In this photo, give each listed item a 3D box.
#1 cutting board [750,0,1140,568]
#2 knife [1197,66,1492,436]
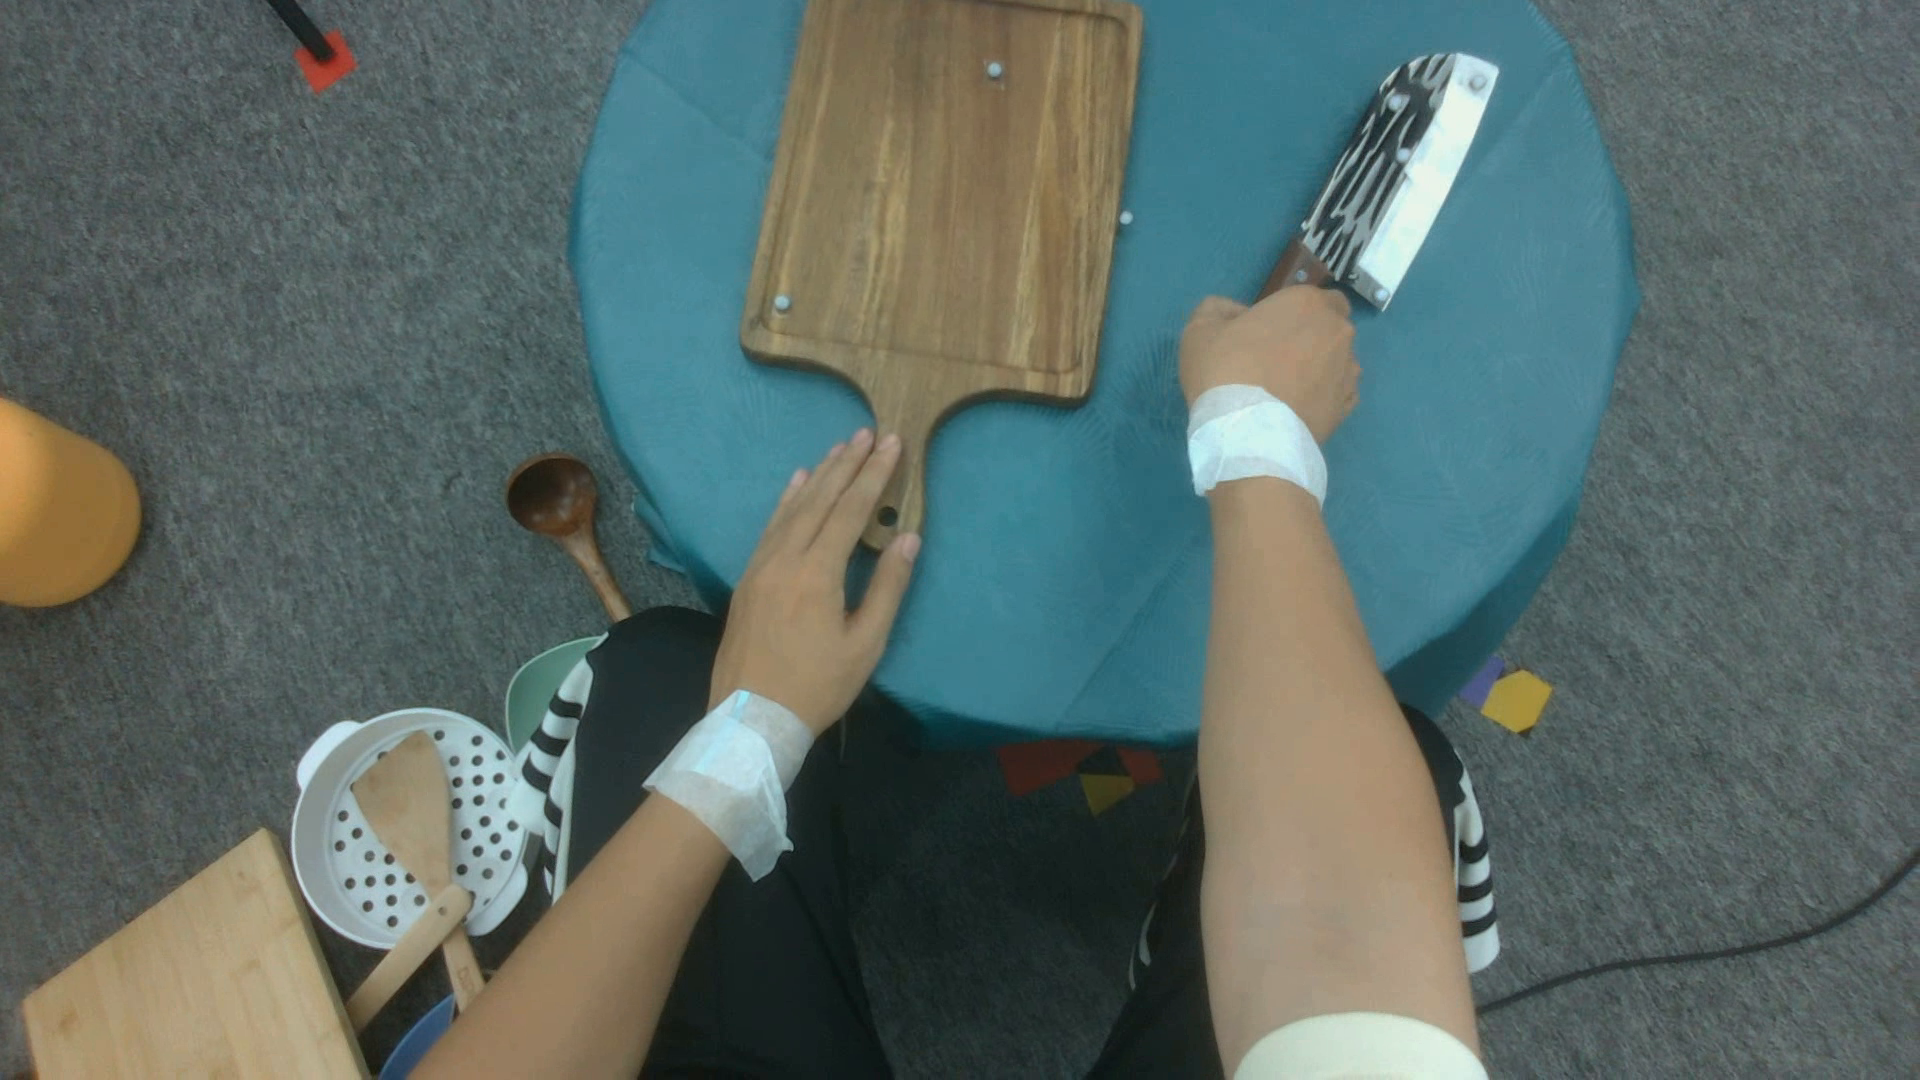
[{"bbox_3d":[-0.011,-0.156,0.785,0.201,0.023,0.353,8,75,2],"label":"cutting board"},{"bbox_3d":[0.225,-0.167,0.781,0.068,0.024,0.300,35,73,-9],"label":"knife"}]
